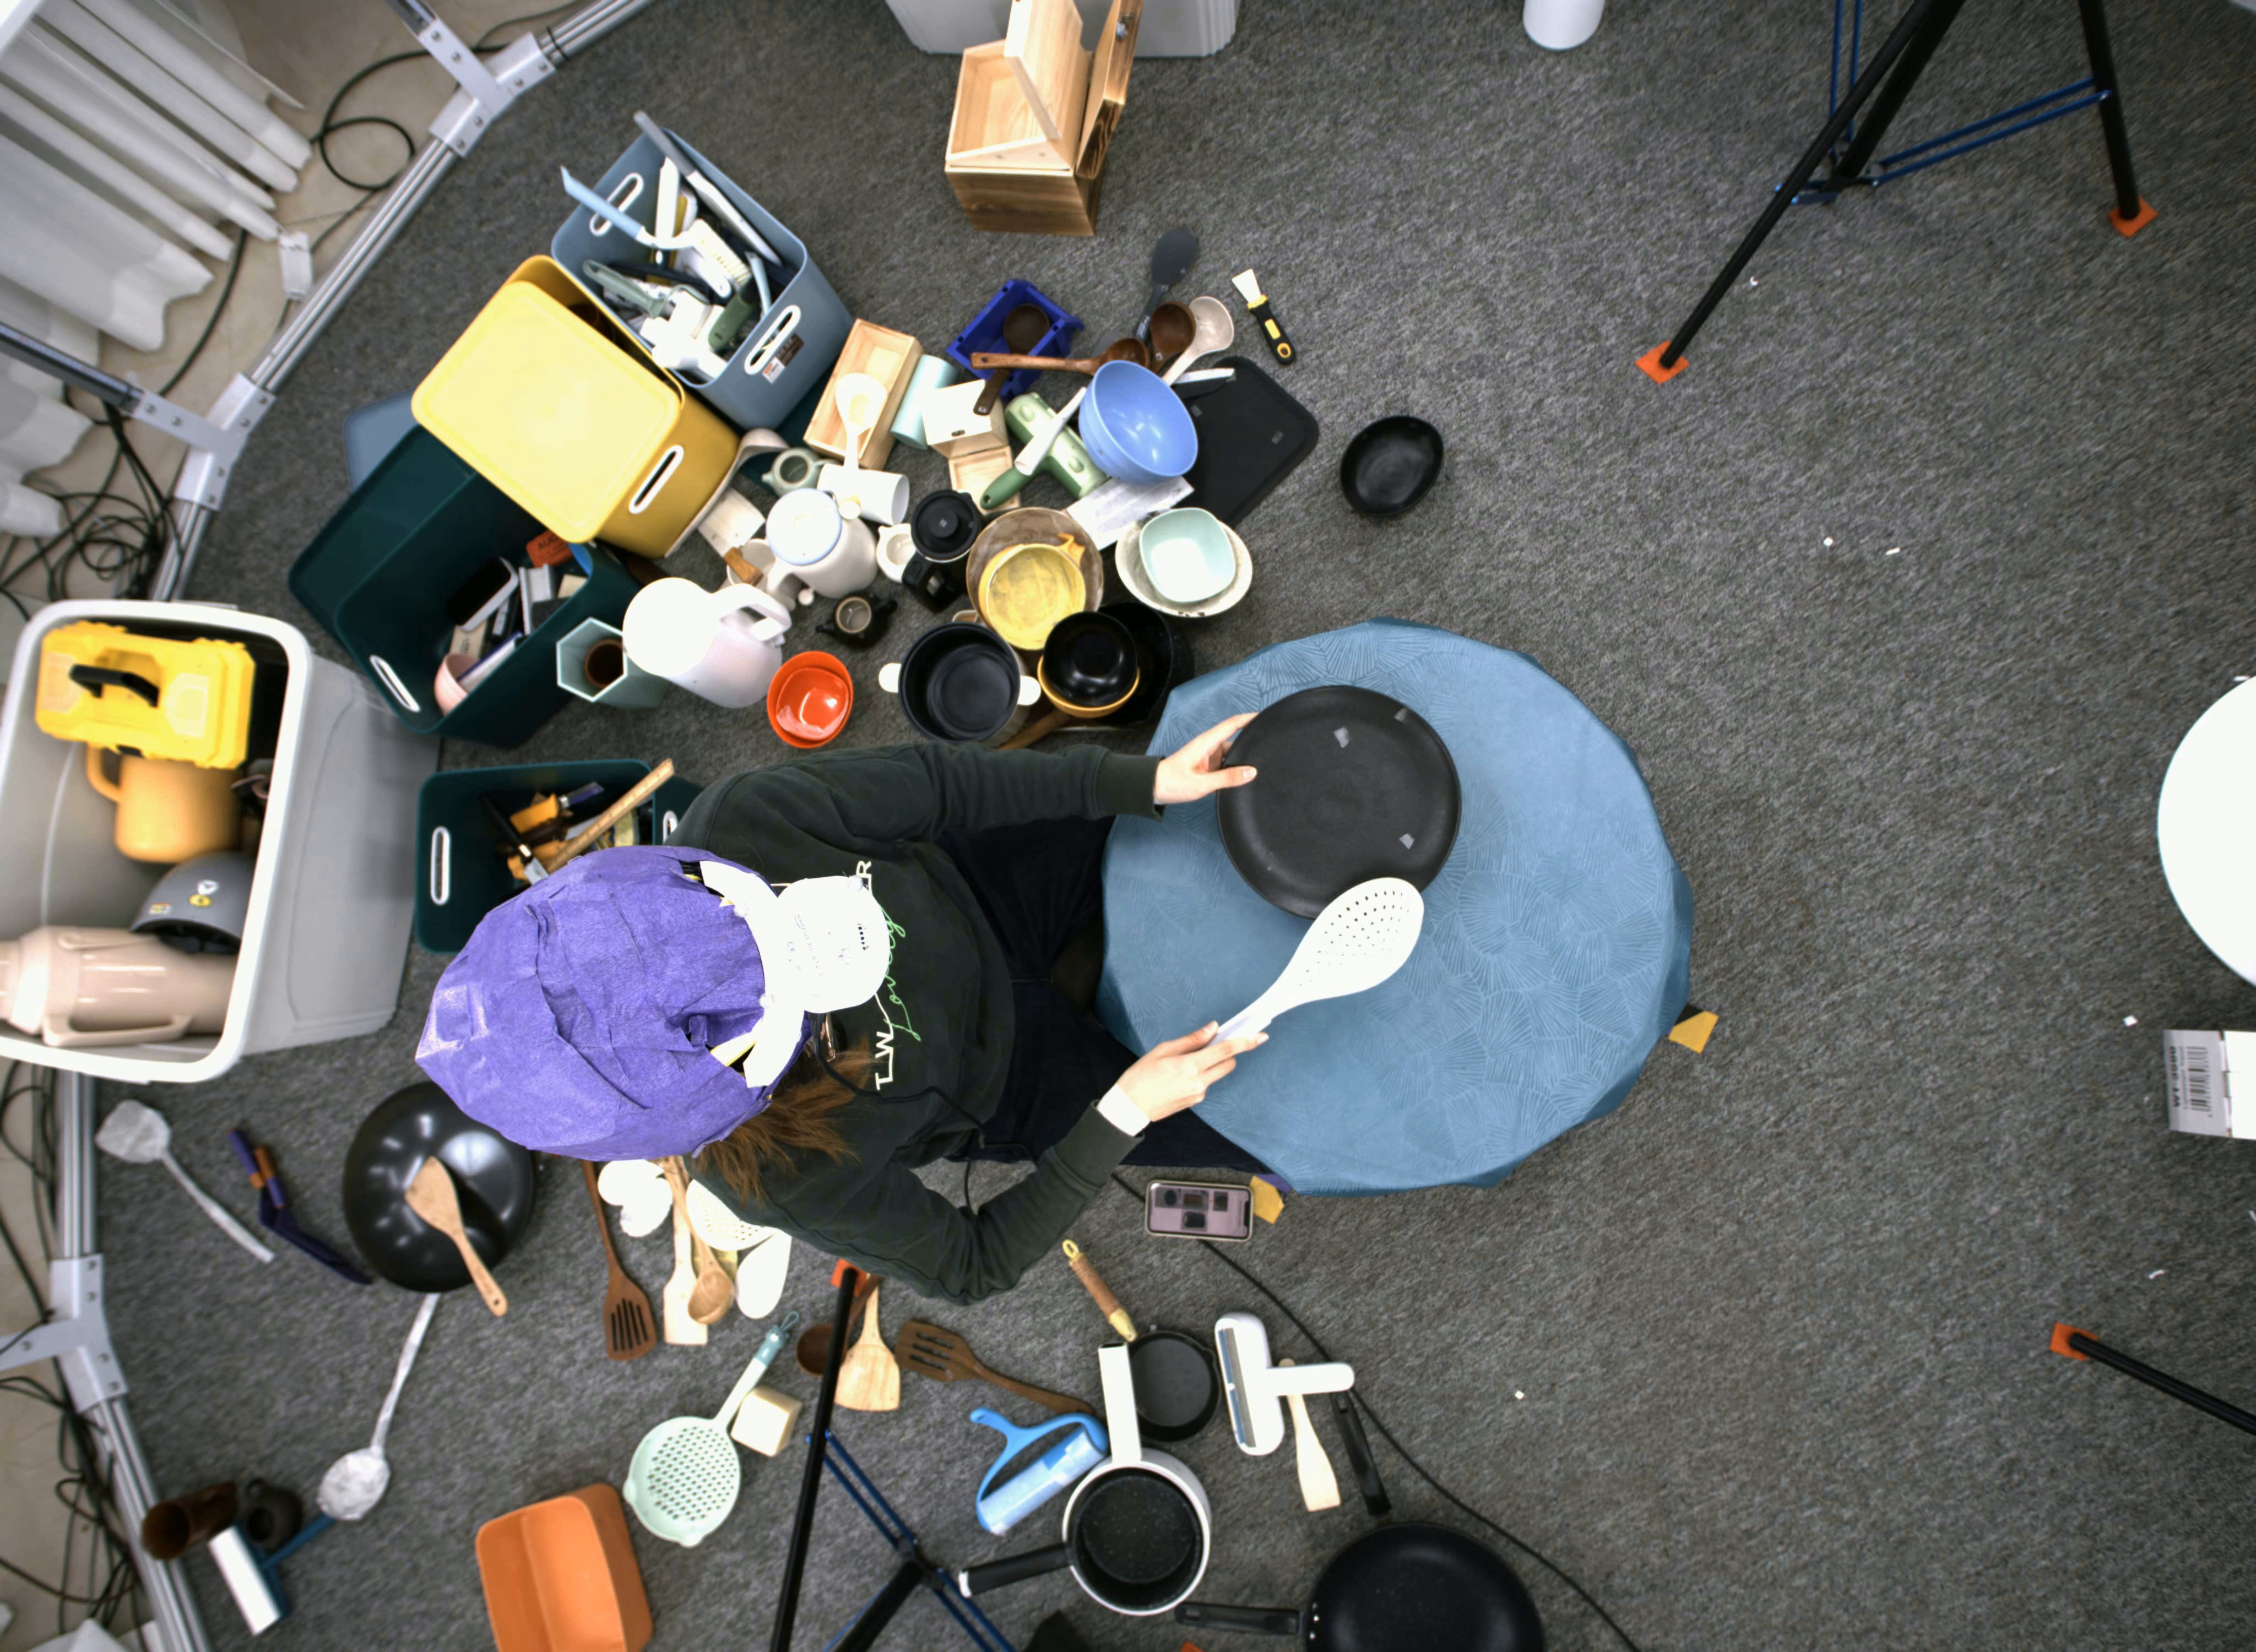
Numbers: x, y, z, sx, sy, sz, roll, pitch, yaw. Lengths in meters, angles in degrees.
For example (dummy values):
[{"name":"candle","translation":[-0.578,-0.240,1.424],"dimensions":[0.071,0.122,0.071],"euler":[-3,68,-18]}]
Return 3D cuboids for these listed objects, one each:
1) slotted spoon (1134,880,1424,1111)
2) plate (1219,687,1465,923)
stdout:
[{"name":"slotted spoon","translation":[0.145,0.173,1.355],"dimensions":[0.353,0.133,0.046],"euler":[-34,118,12]},{"name":"plate","translation":[0.214,-0.021,1.386],"dimensions":[0.245,0.023,0.247],"euler":[3,107,9]}]
